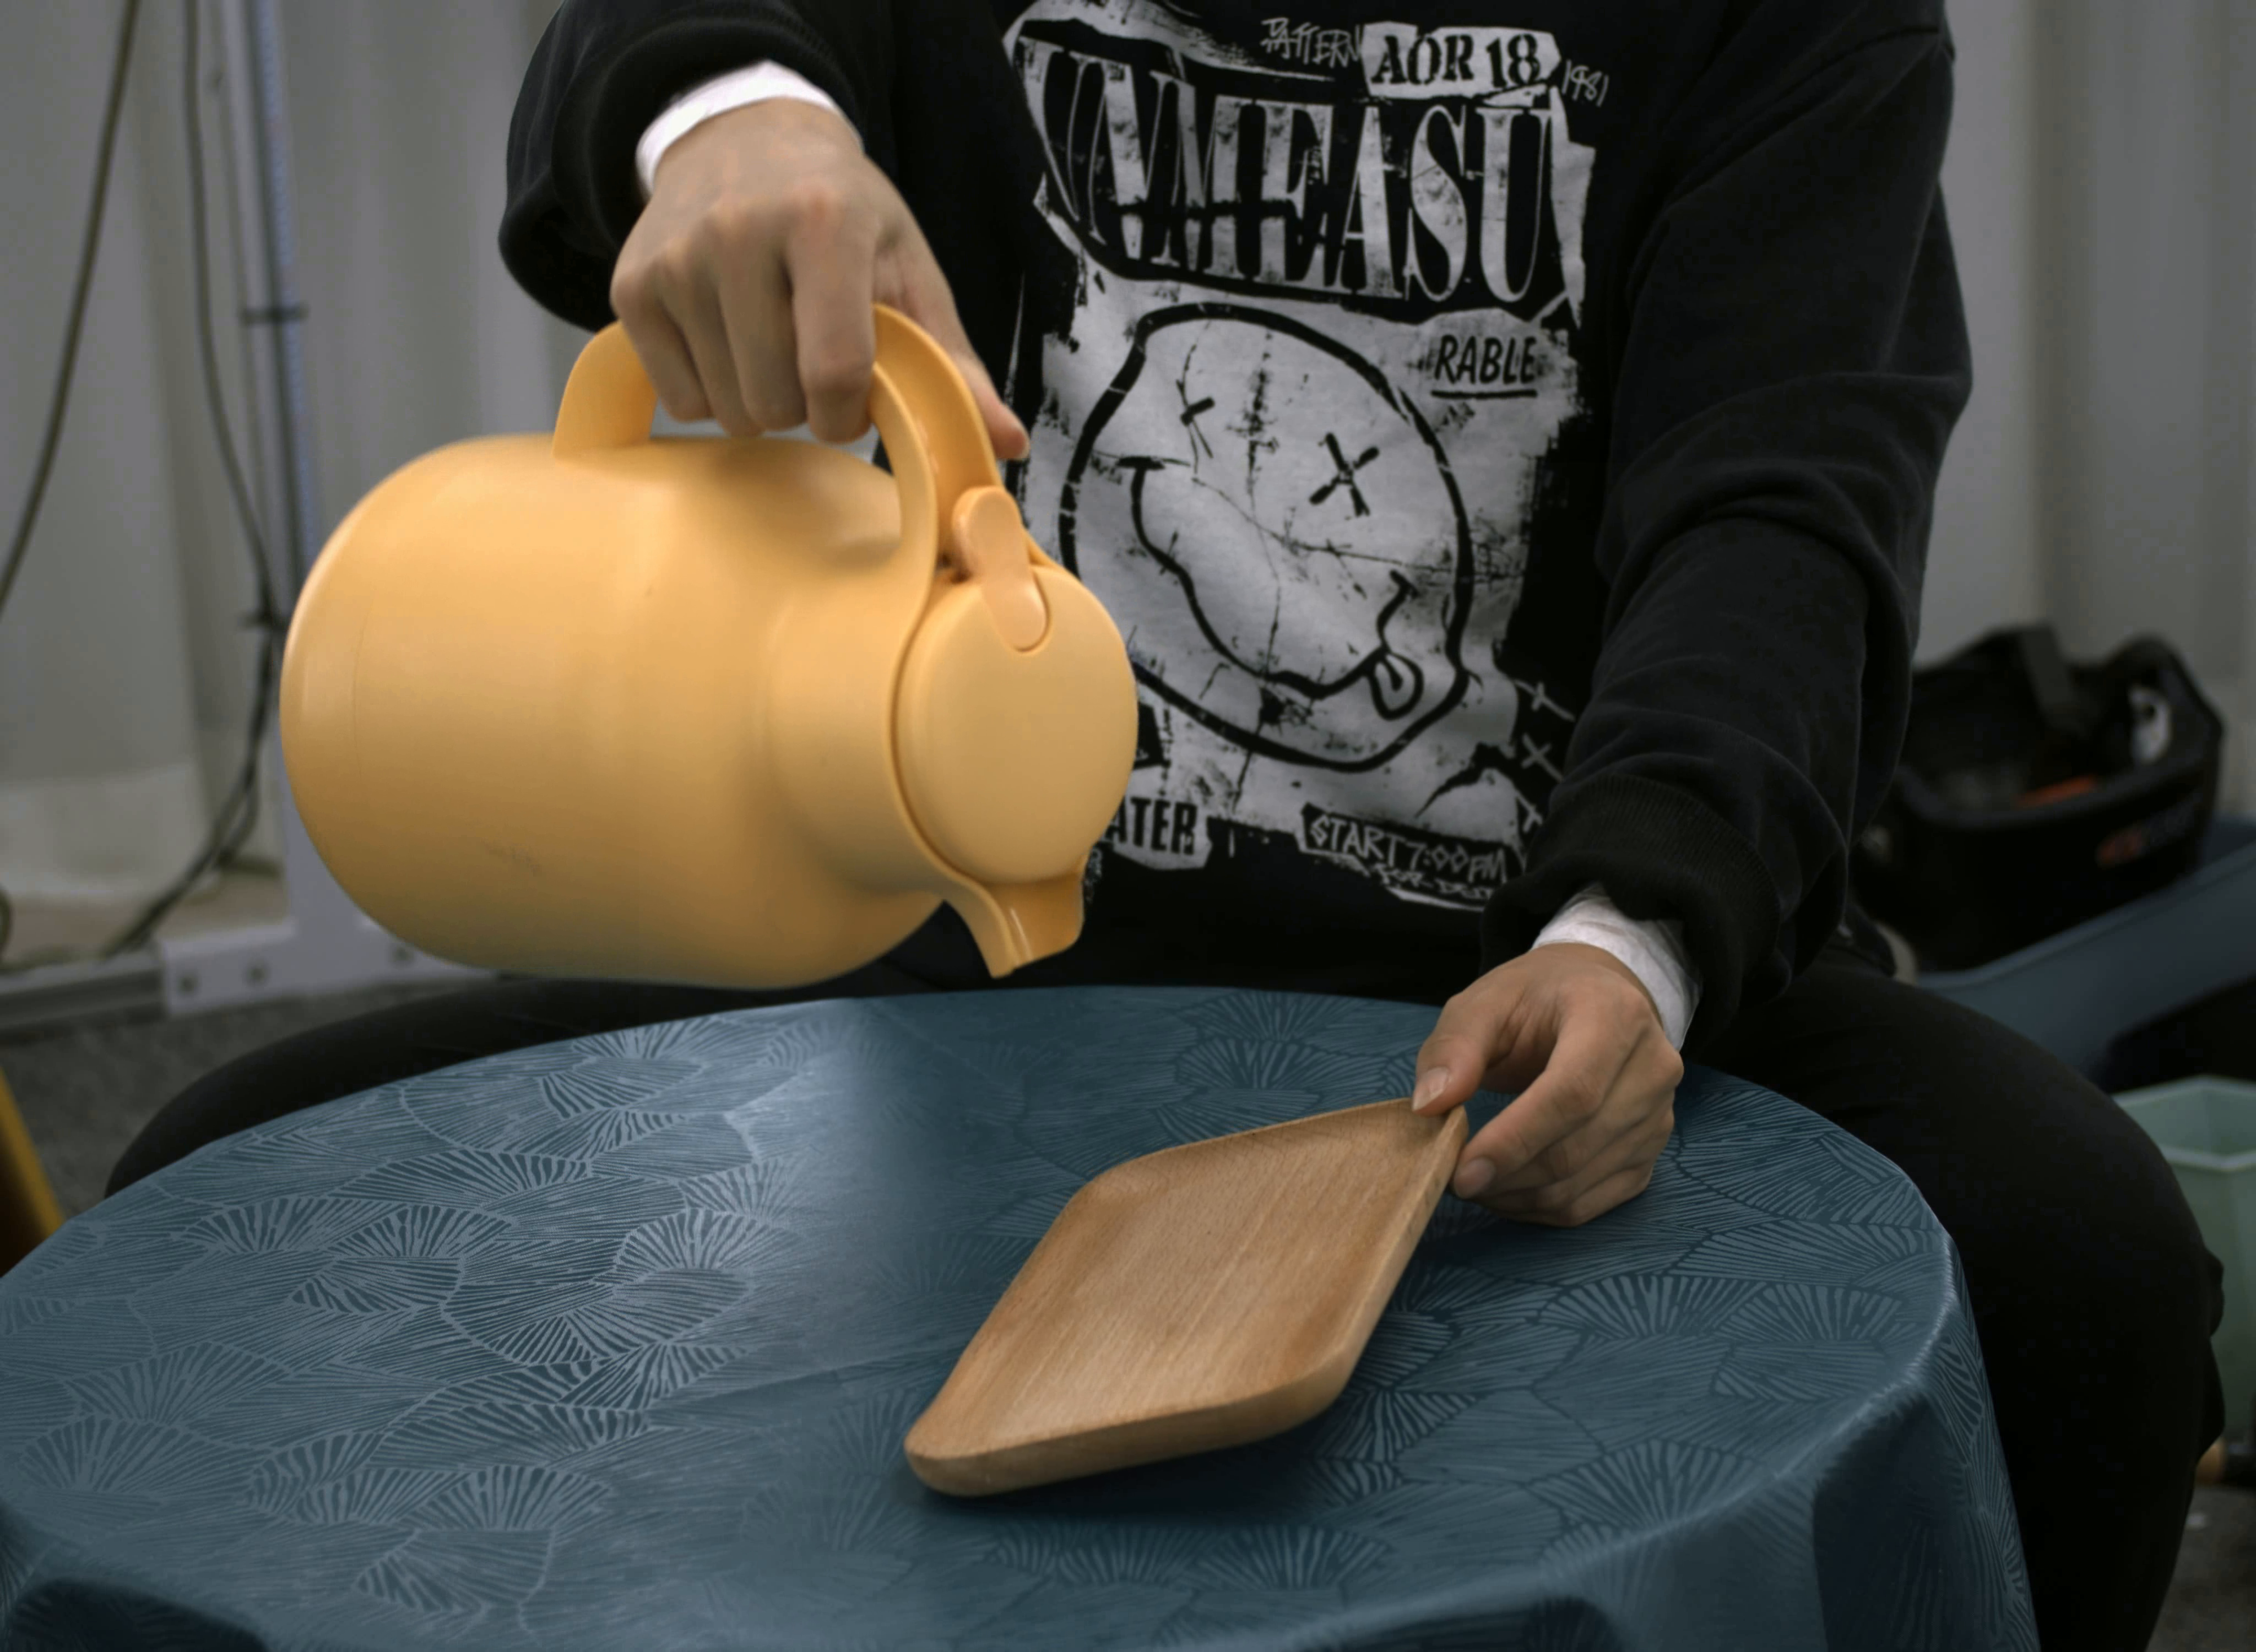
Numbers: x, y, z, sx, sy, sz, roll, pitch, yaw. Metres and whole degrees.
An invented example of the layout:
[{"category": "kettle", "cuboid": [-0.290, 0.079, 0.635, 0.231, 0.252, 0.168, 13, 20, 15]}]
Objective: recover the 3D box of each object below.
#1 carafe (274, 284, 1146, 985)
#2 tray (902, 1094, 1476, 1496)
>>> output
[{"category": "carafe", "cuboid": [-0.117, -0.055, 1.584, 0.261, 0.202, 0.163, 3, 14, 40]}, {"category": "tray", "cuboid": [0.022, 0.131, 1.560, 0.130, 0.023, 0.252, -10, 12, 17]}]
